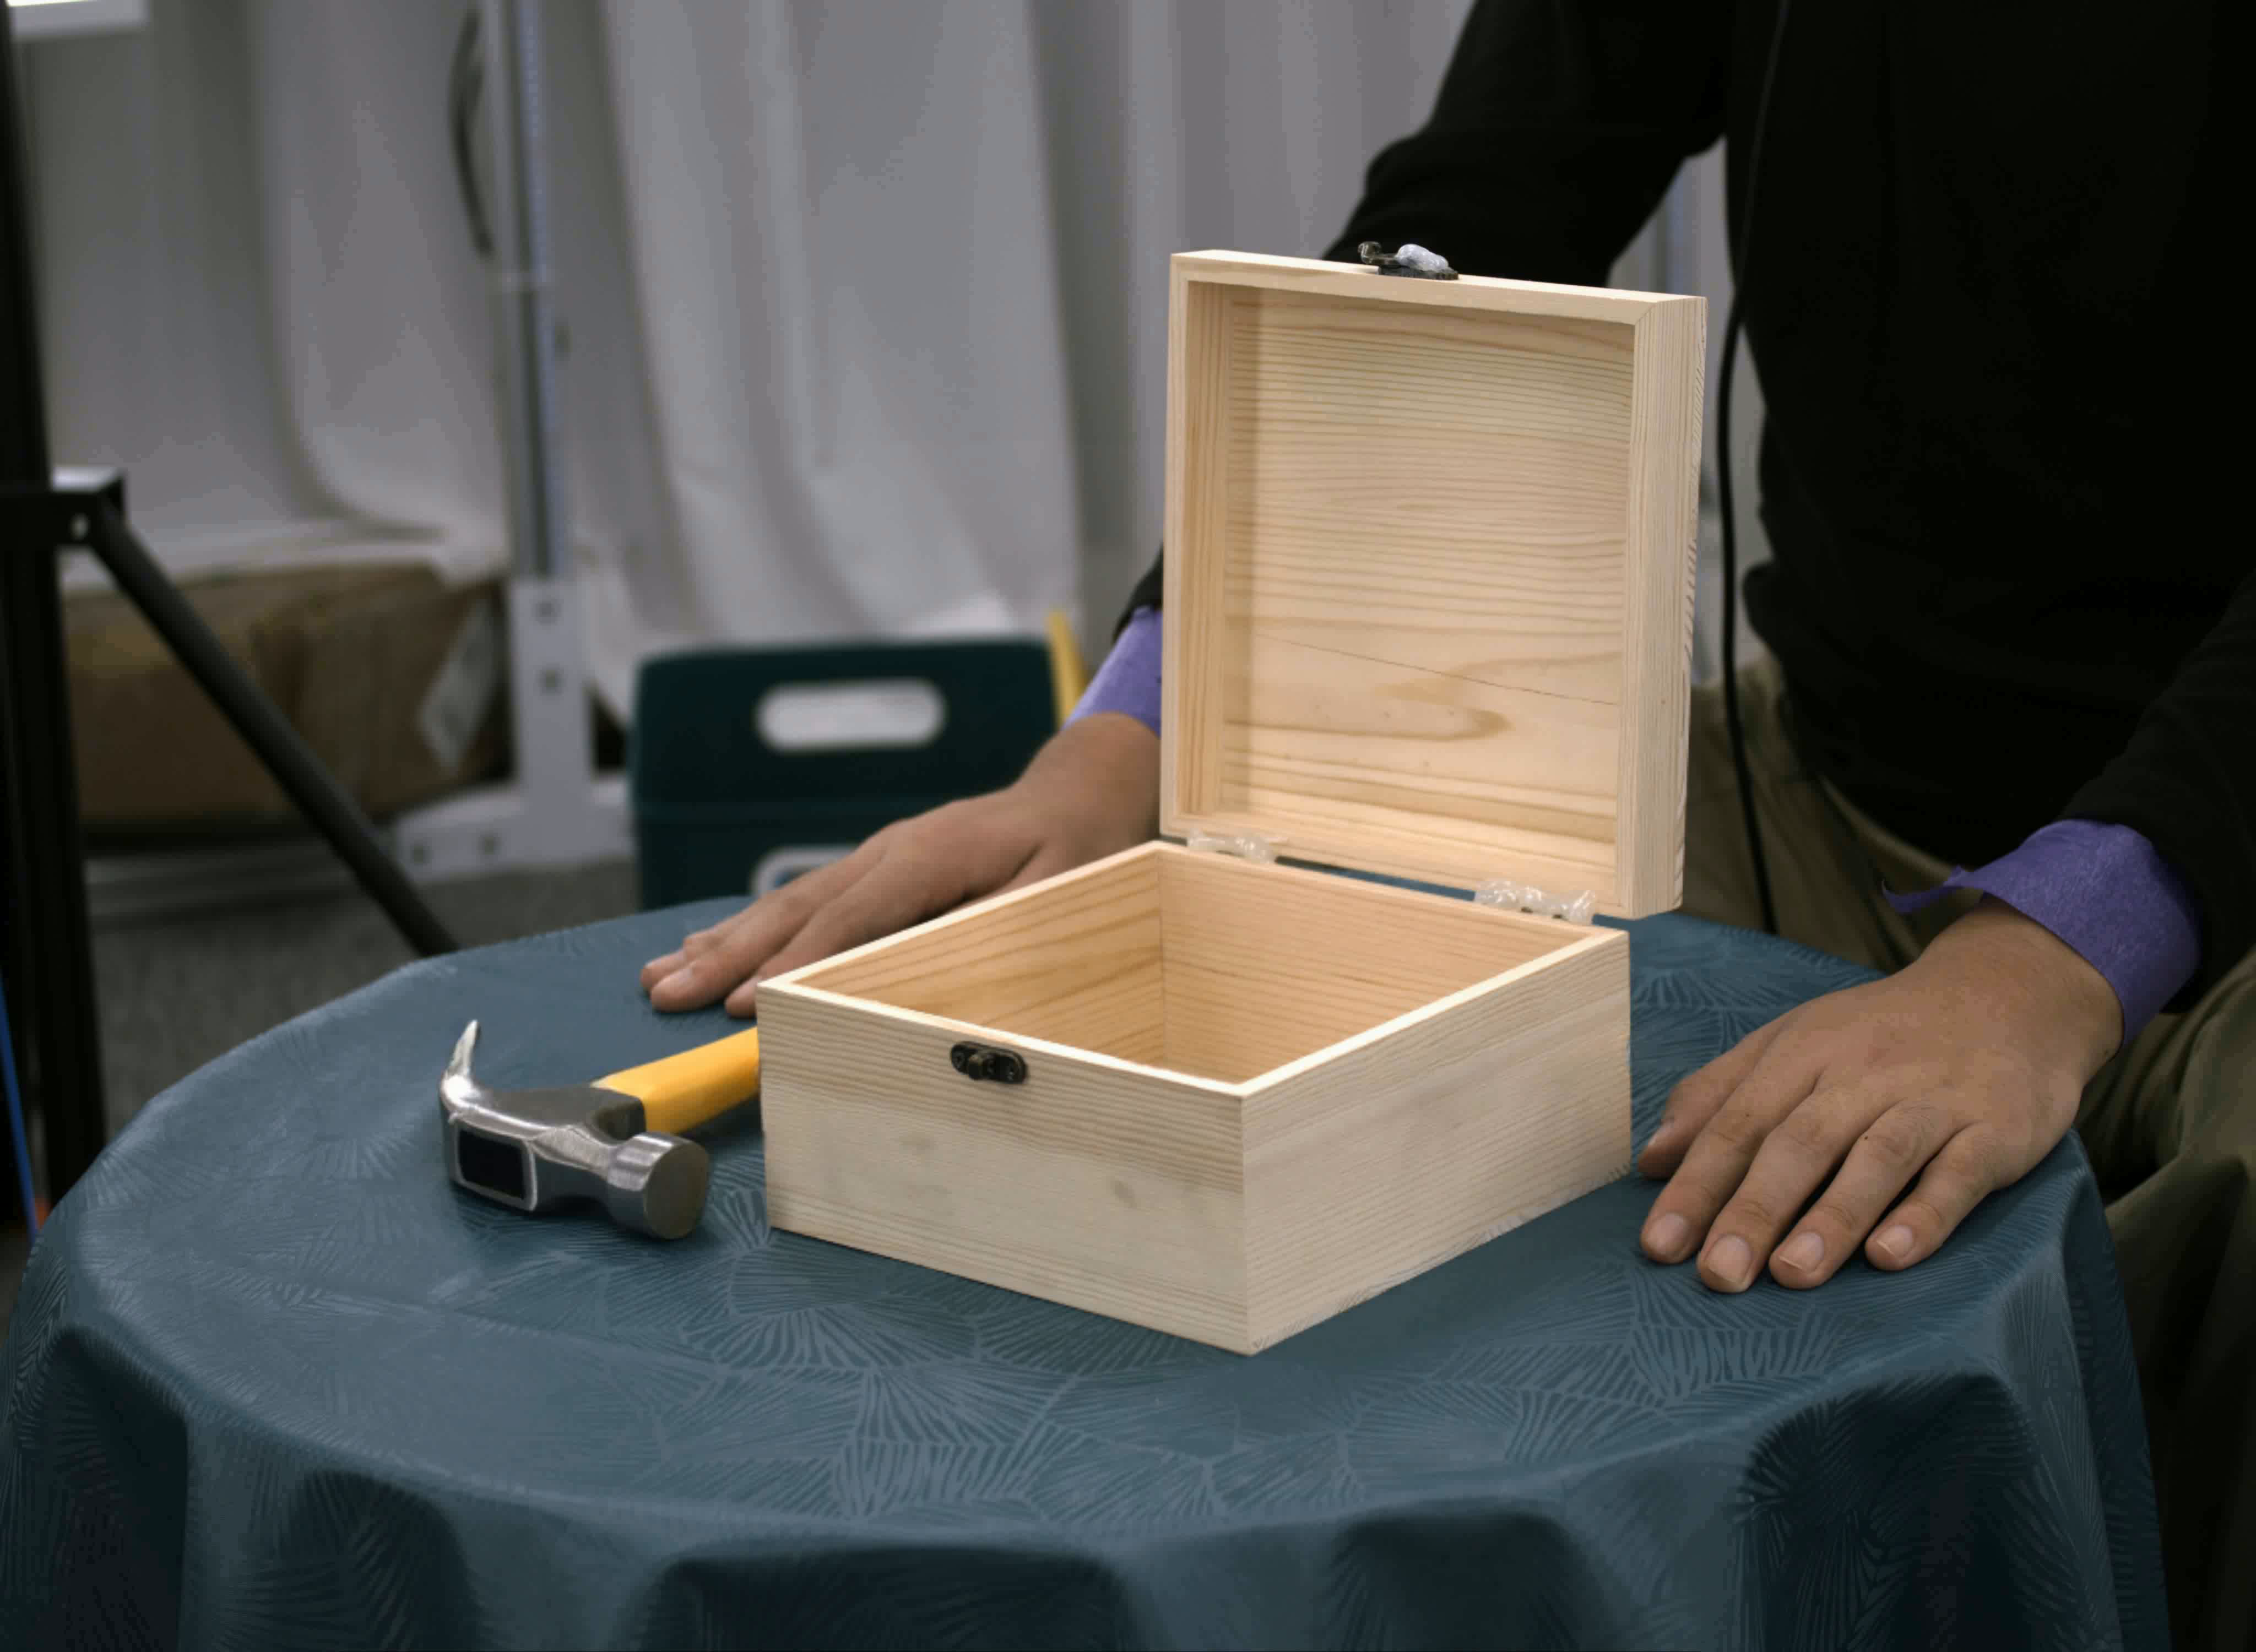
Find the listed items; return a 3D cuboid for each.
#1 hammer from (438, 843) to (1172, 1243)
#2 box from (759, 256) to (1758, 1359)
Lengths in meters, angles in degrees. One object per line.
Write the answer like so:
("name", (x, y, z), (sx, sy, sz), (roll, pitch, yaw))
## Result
("hammer", (-0.078, 0.057, 1.680), (0.134, 0.032, 0.331), (12, 22, 41))
("box", (0.039, -0.018, 1.538), (0.186, 0.253, 0.259), (8, 18, 40))
